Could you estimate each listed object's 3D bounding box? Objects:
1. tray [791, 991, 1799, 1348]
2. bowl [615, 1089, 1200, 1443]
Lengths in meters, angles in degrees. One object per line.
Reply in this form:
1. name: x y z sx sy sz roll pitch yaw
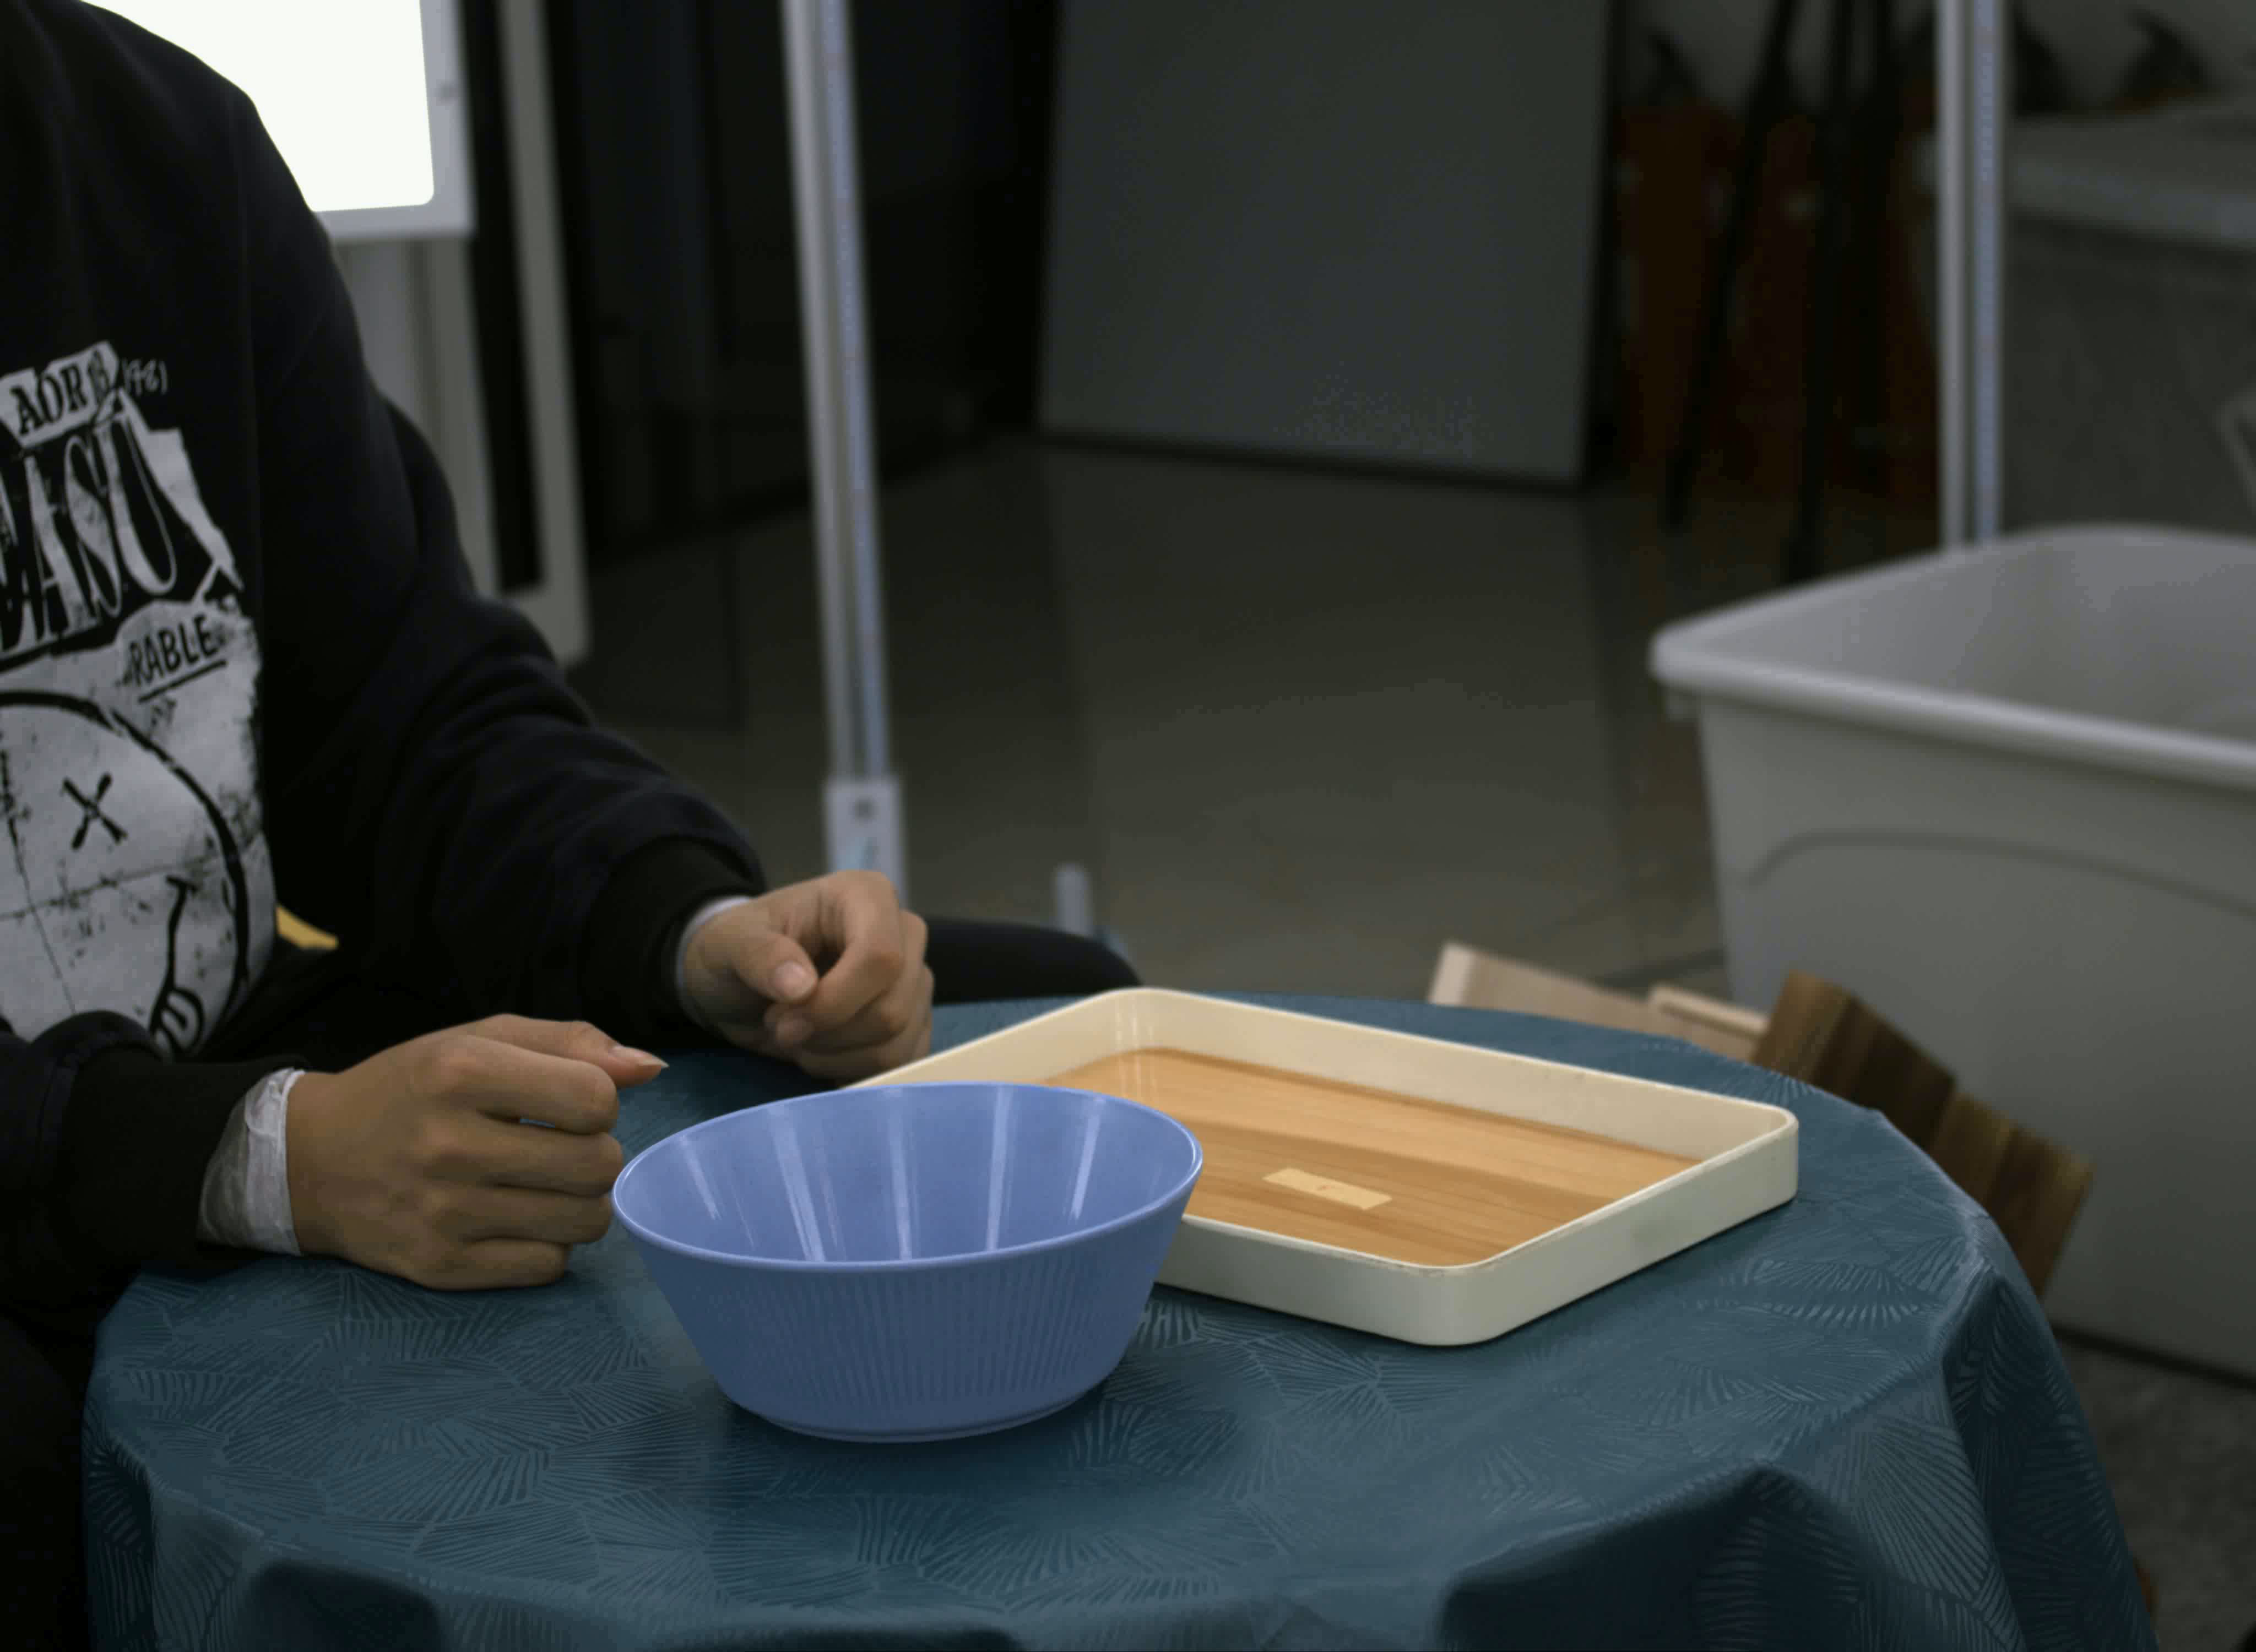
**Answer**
1. tray: 0.051 0.108 1.756 0.303 0.028 0.188 9 19 42
2. bowl: -0.063 0.132 1.596 0.174 0.071 0.176 -3 13 0
